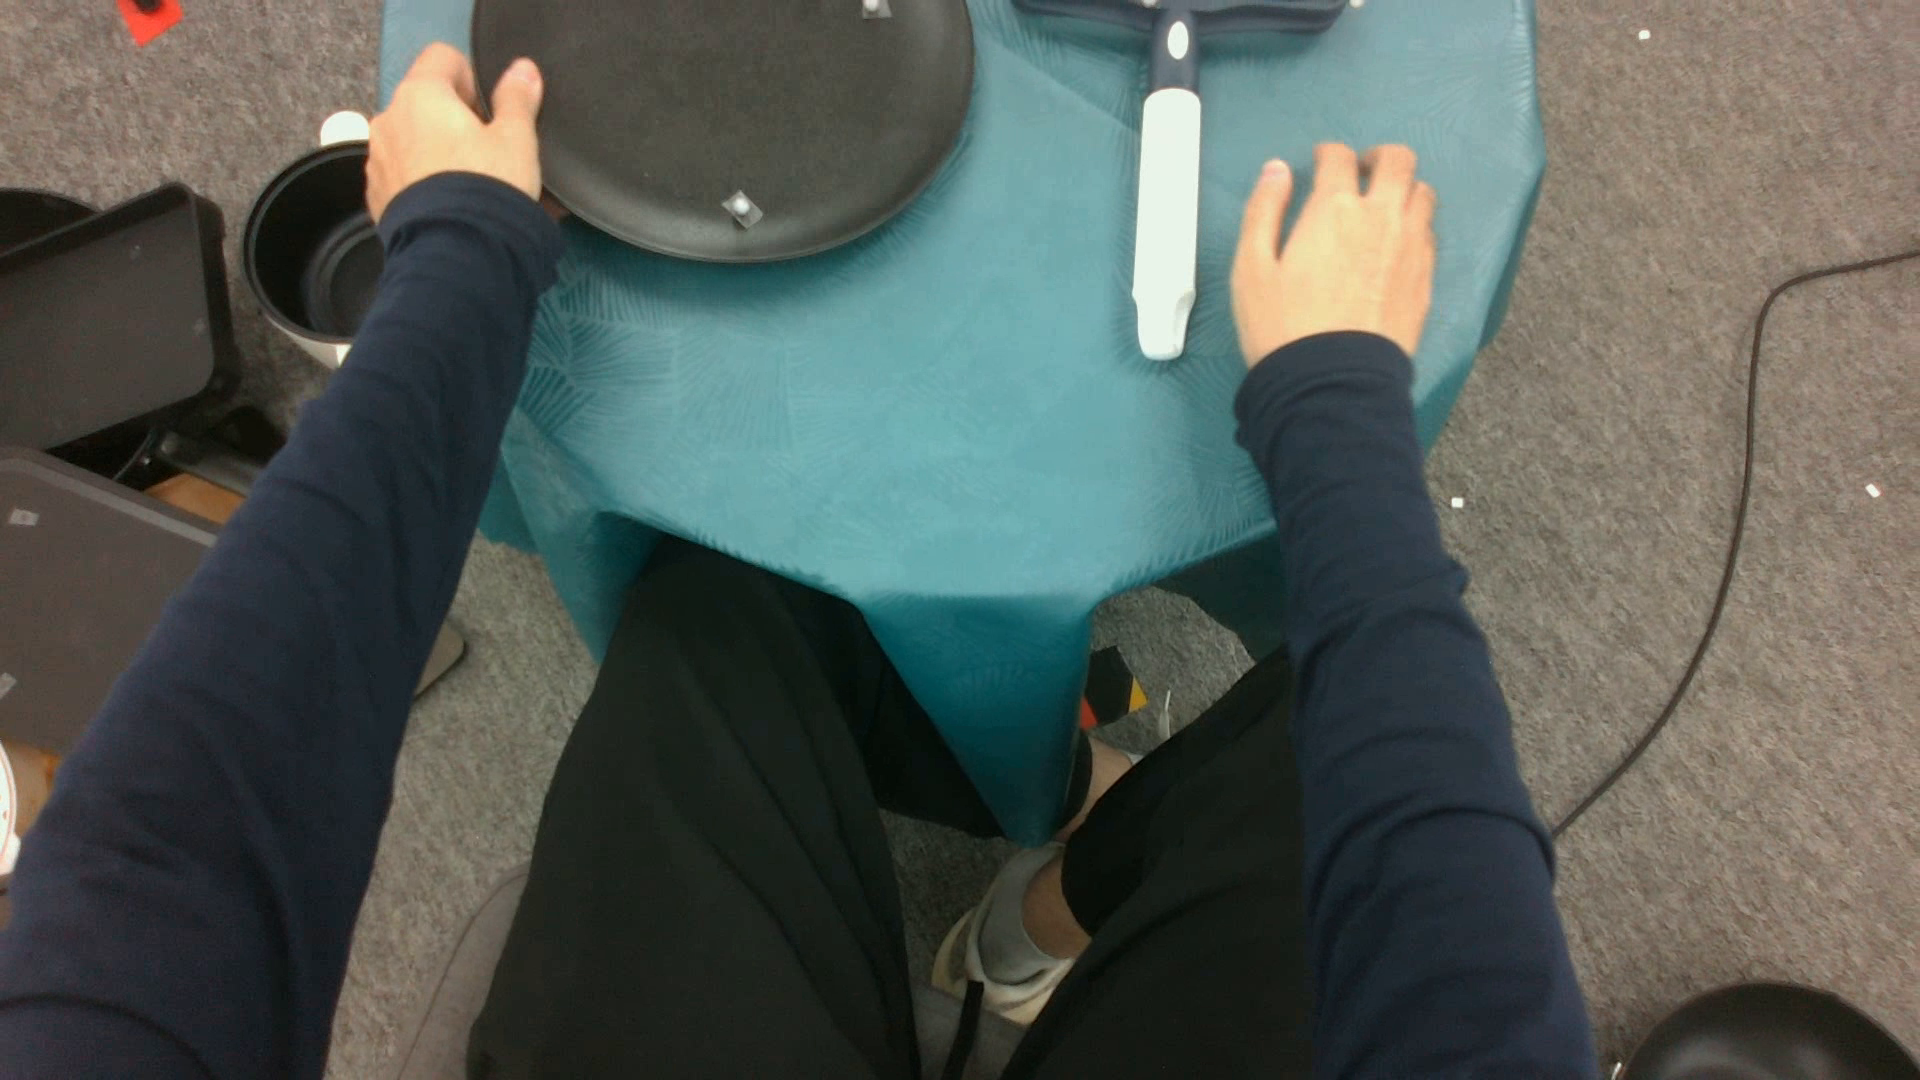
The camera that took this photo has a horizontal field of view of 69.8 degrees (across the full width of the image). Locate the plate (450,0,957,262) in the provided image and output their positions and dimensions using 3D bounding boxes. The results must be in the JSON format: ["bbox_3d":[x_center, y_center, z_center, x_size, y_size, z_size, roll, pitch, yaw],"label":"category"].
[{"bbox_3d":[-0.122,-0.244,0.682,0.244,0.023,0.245,4,72,-12],"label":"plate"}]

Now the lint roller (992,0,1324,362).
[{"bbox_3d":[0.098,-0.212,0.692,0.176,0.050,0.247,3,78,-4],"label":"lint roller"}]
